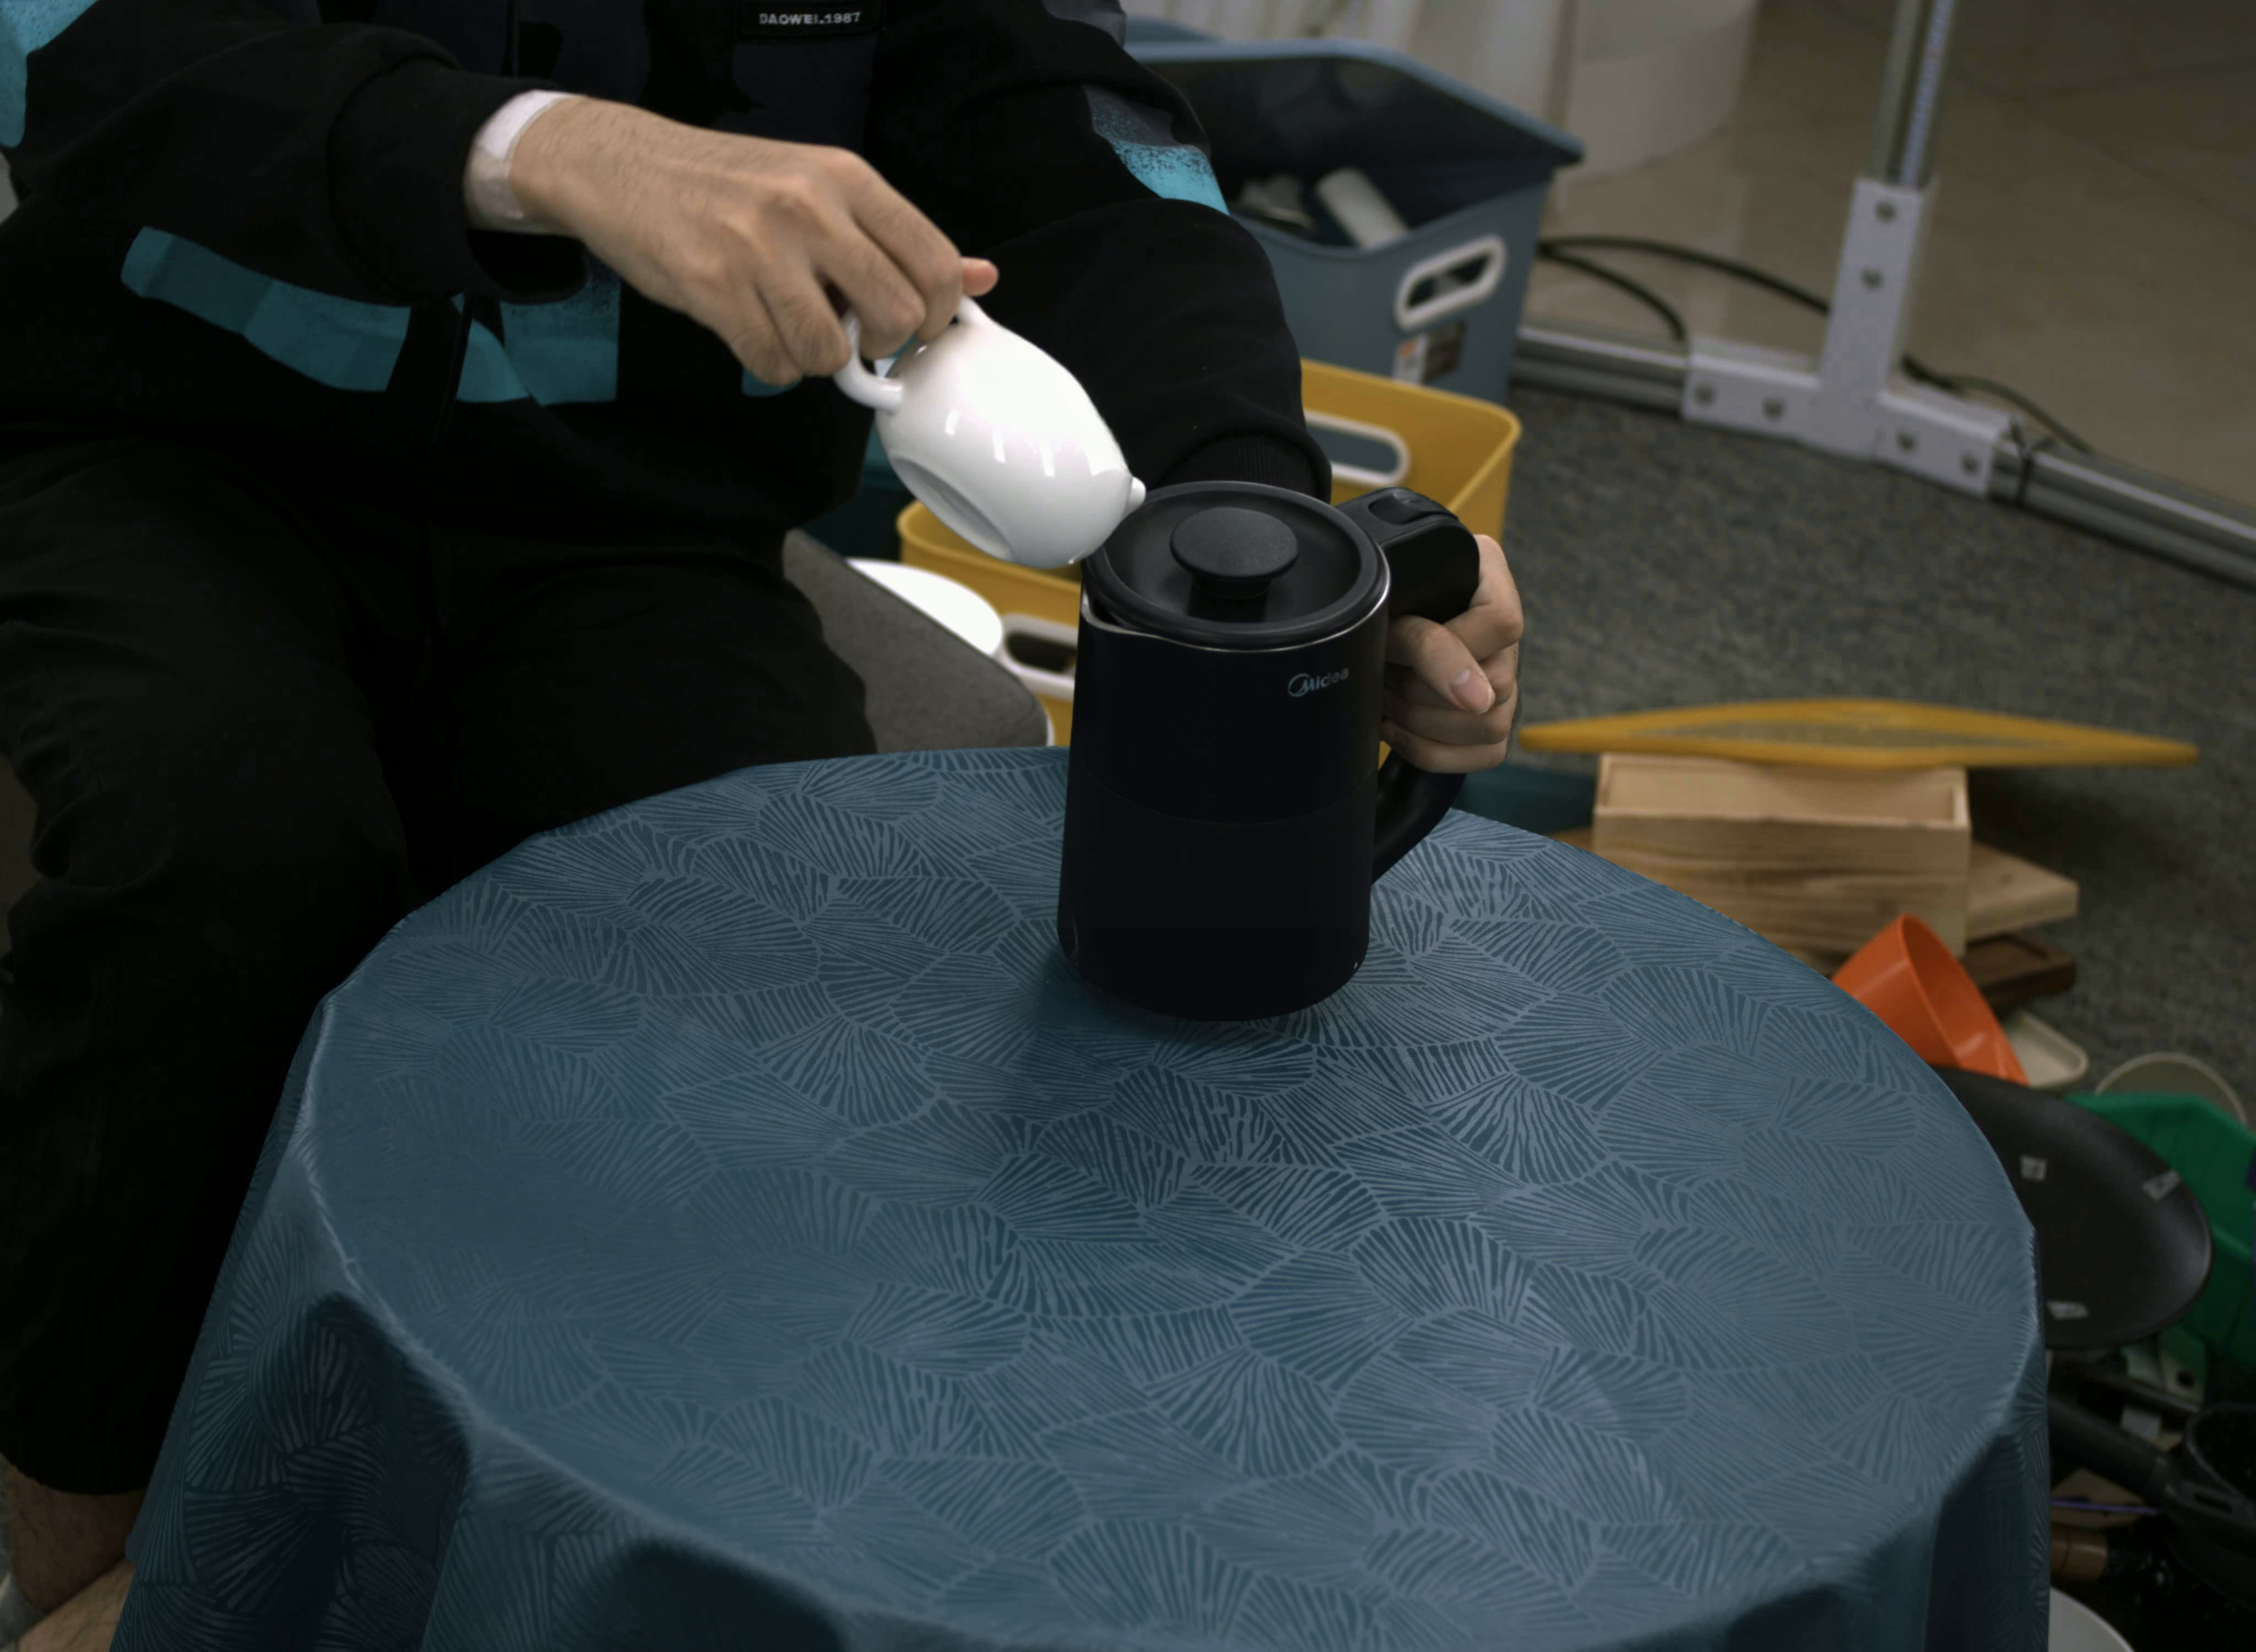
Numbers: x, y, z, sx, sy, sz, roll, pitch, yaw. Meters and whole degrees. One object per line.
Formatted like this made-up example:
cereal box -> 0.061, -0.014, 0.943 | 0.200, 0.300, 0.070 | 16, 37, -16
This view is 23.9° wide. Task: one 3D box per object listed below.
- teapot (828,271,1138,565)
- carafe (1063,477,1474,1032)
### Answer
teapot -> -0.050, -0.135, 1.776 | 0.056, 0.126, 0.094 | -49, 33, -9
carafe -> 0.051, -0.038, 1.898 | 0.171, 0.172, 0.115 | -23, 40, -31
